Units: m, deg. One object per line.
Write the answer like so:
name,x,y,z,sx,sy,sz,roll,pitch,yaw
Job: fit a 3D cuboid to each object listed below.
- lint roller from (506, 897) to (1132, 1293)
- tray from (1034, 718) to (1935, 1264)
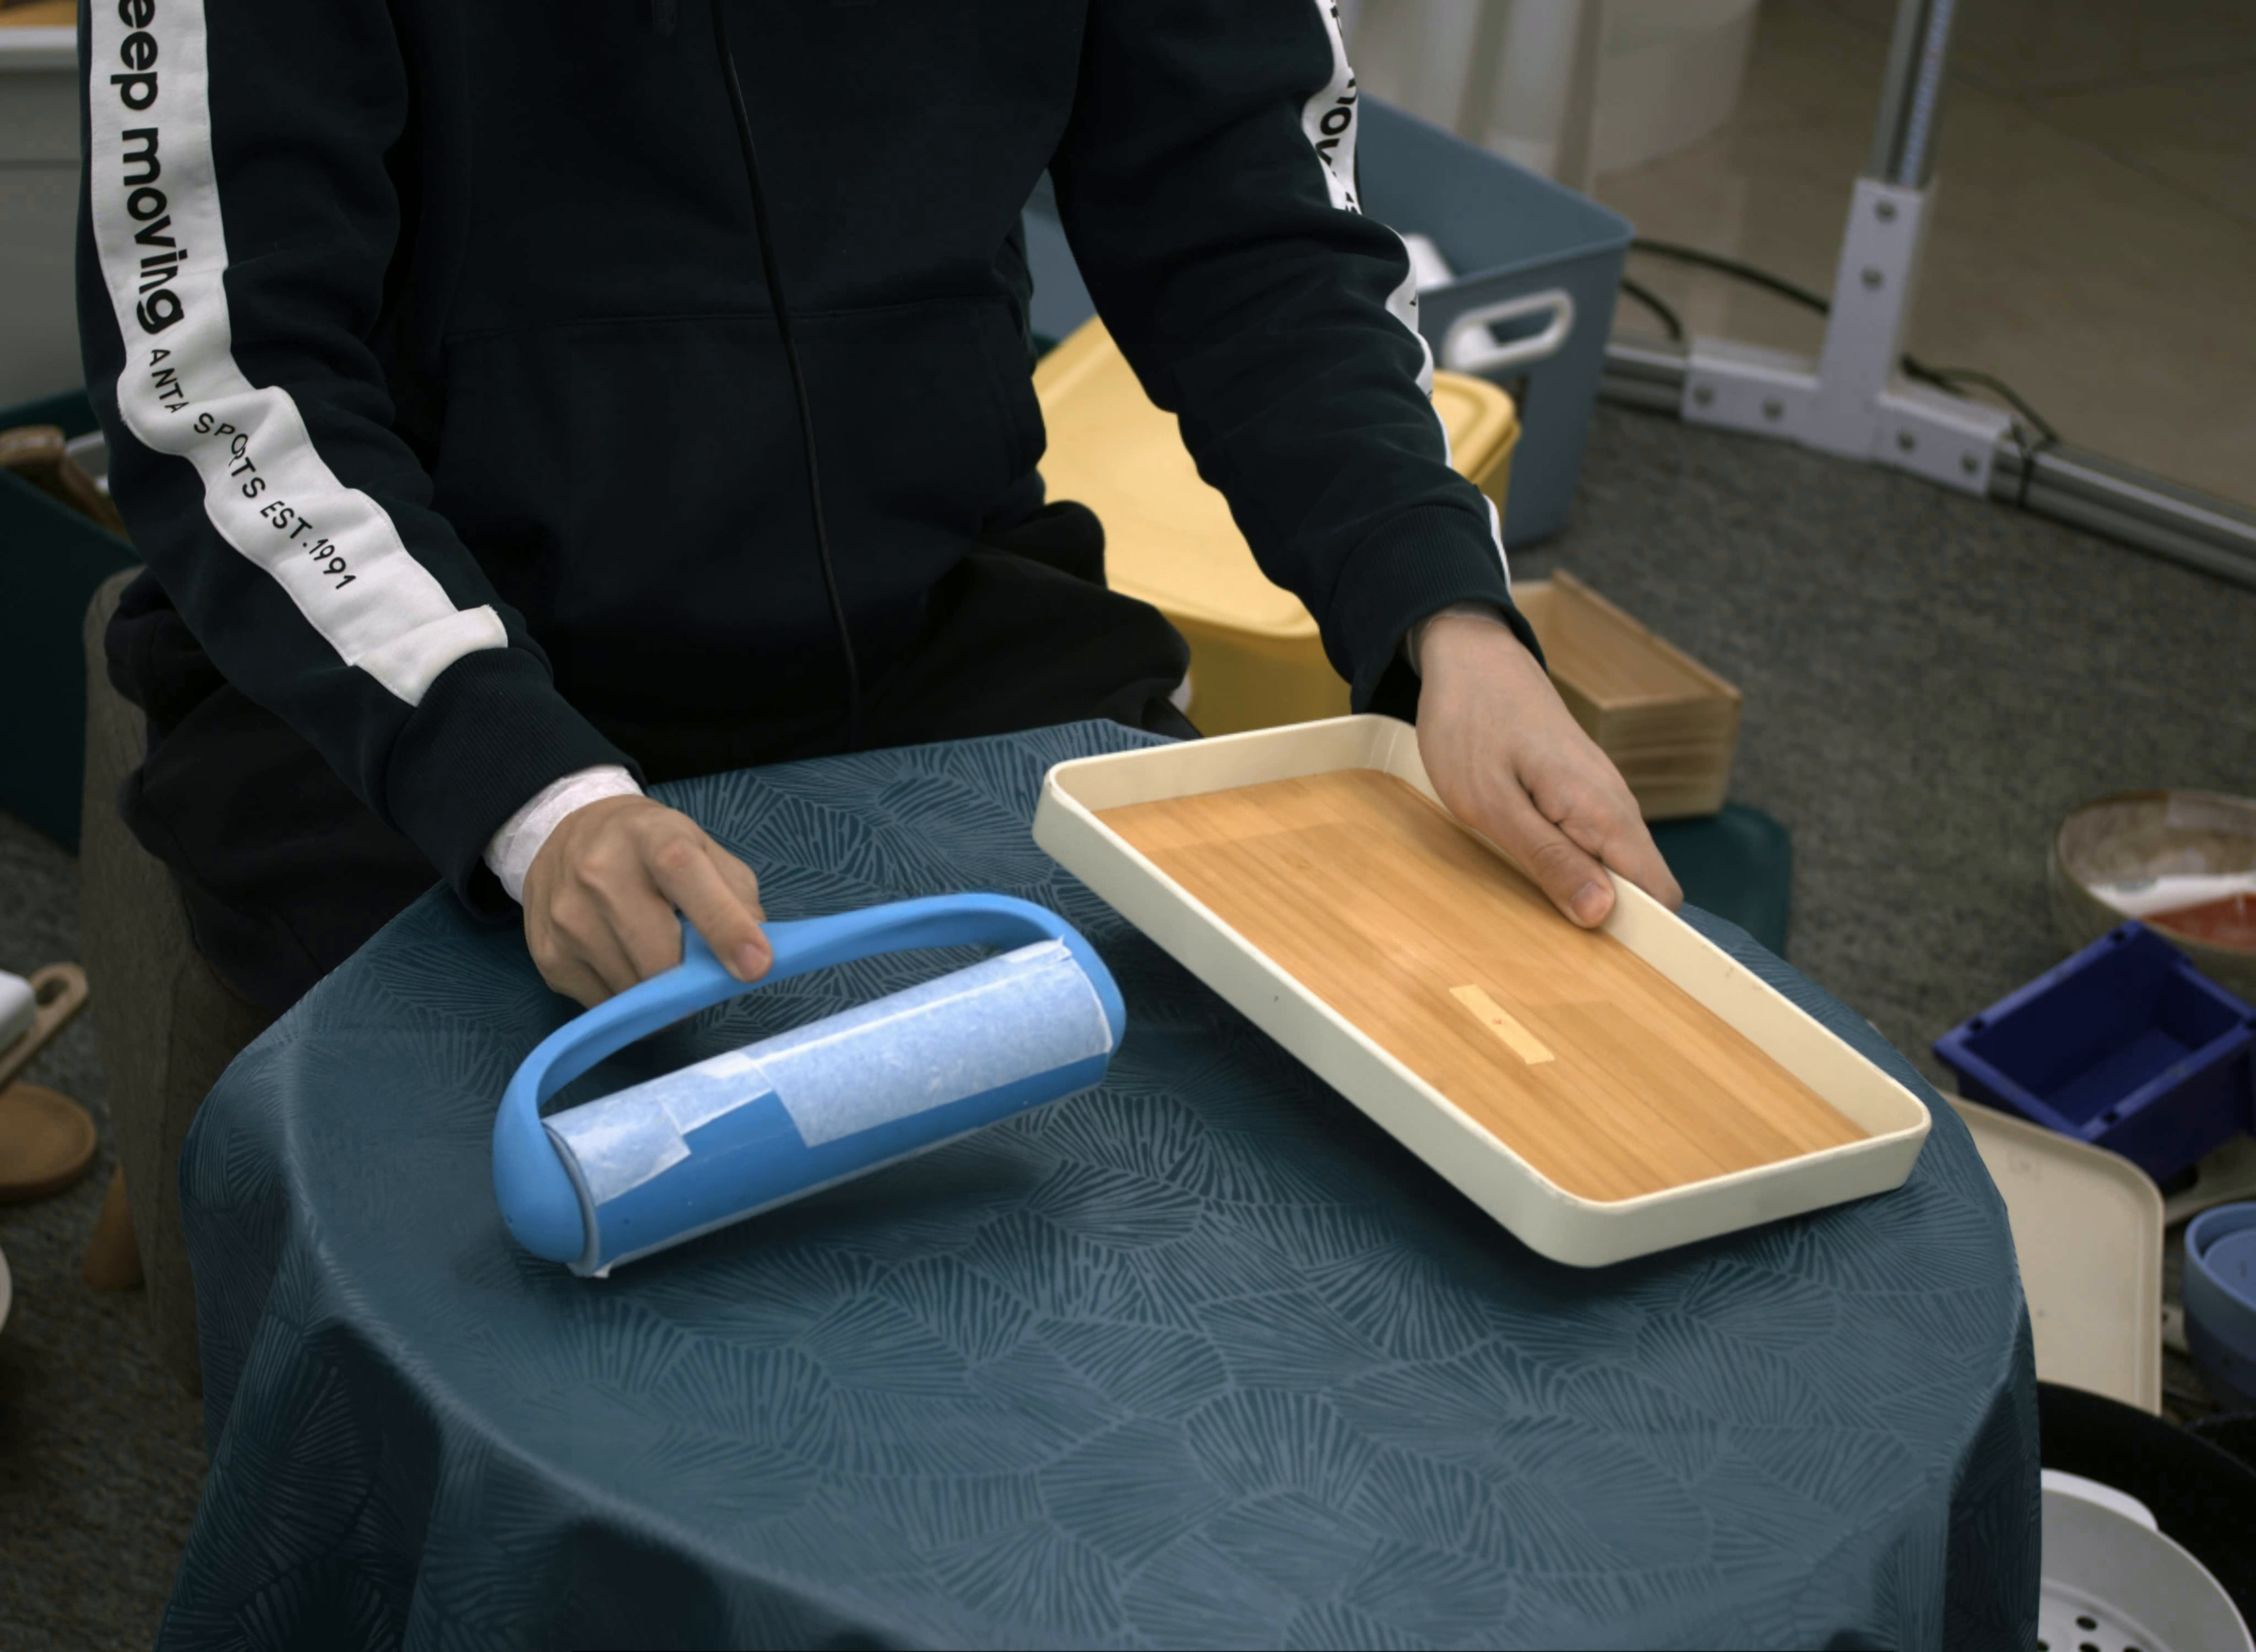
lint roller,-0.132,0.068,1.788,0.228,0.067,0.182,-24,38,-27
tray,0.123,0.052,1.885,0.190,0.027,0.303,-9,35,-41
